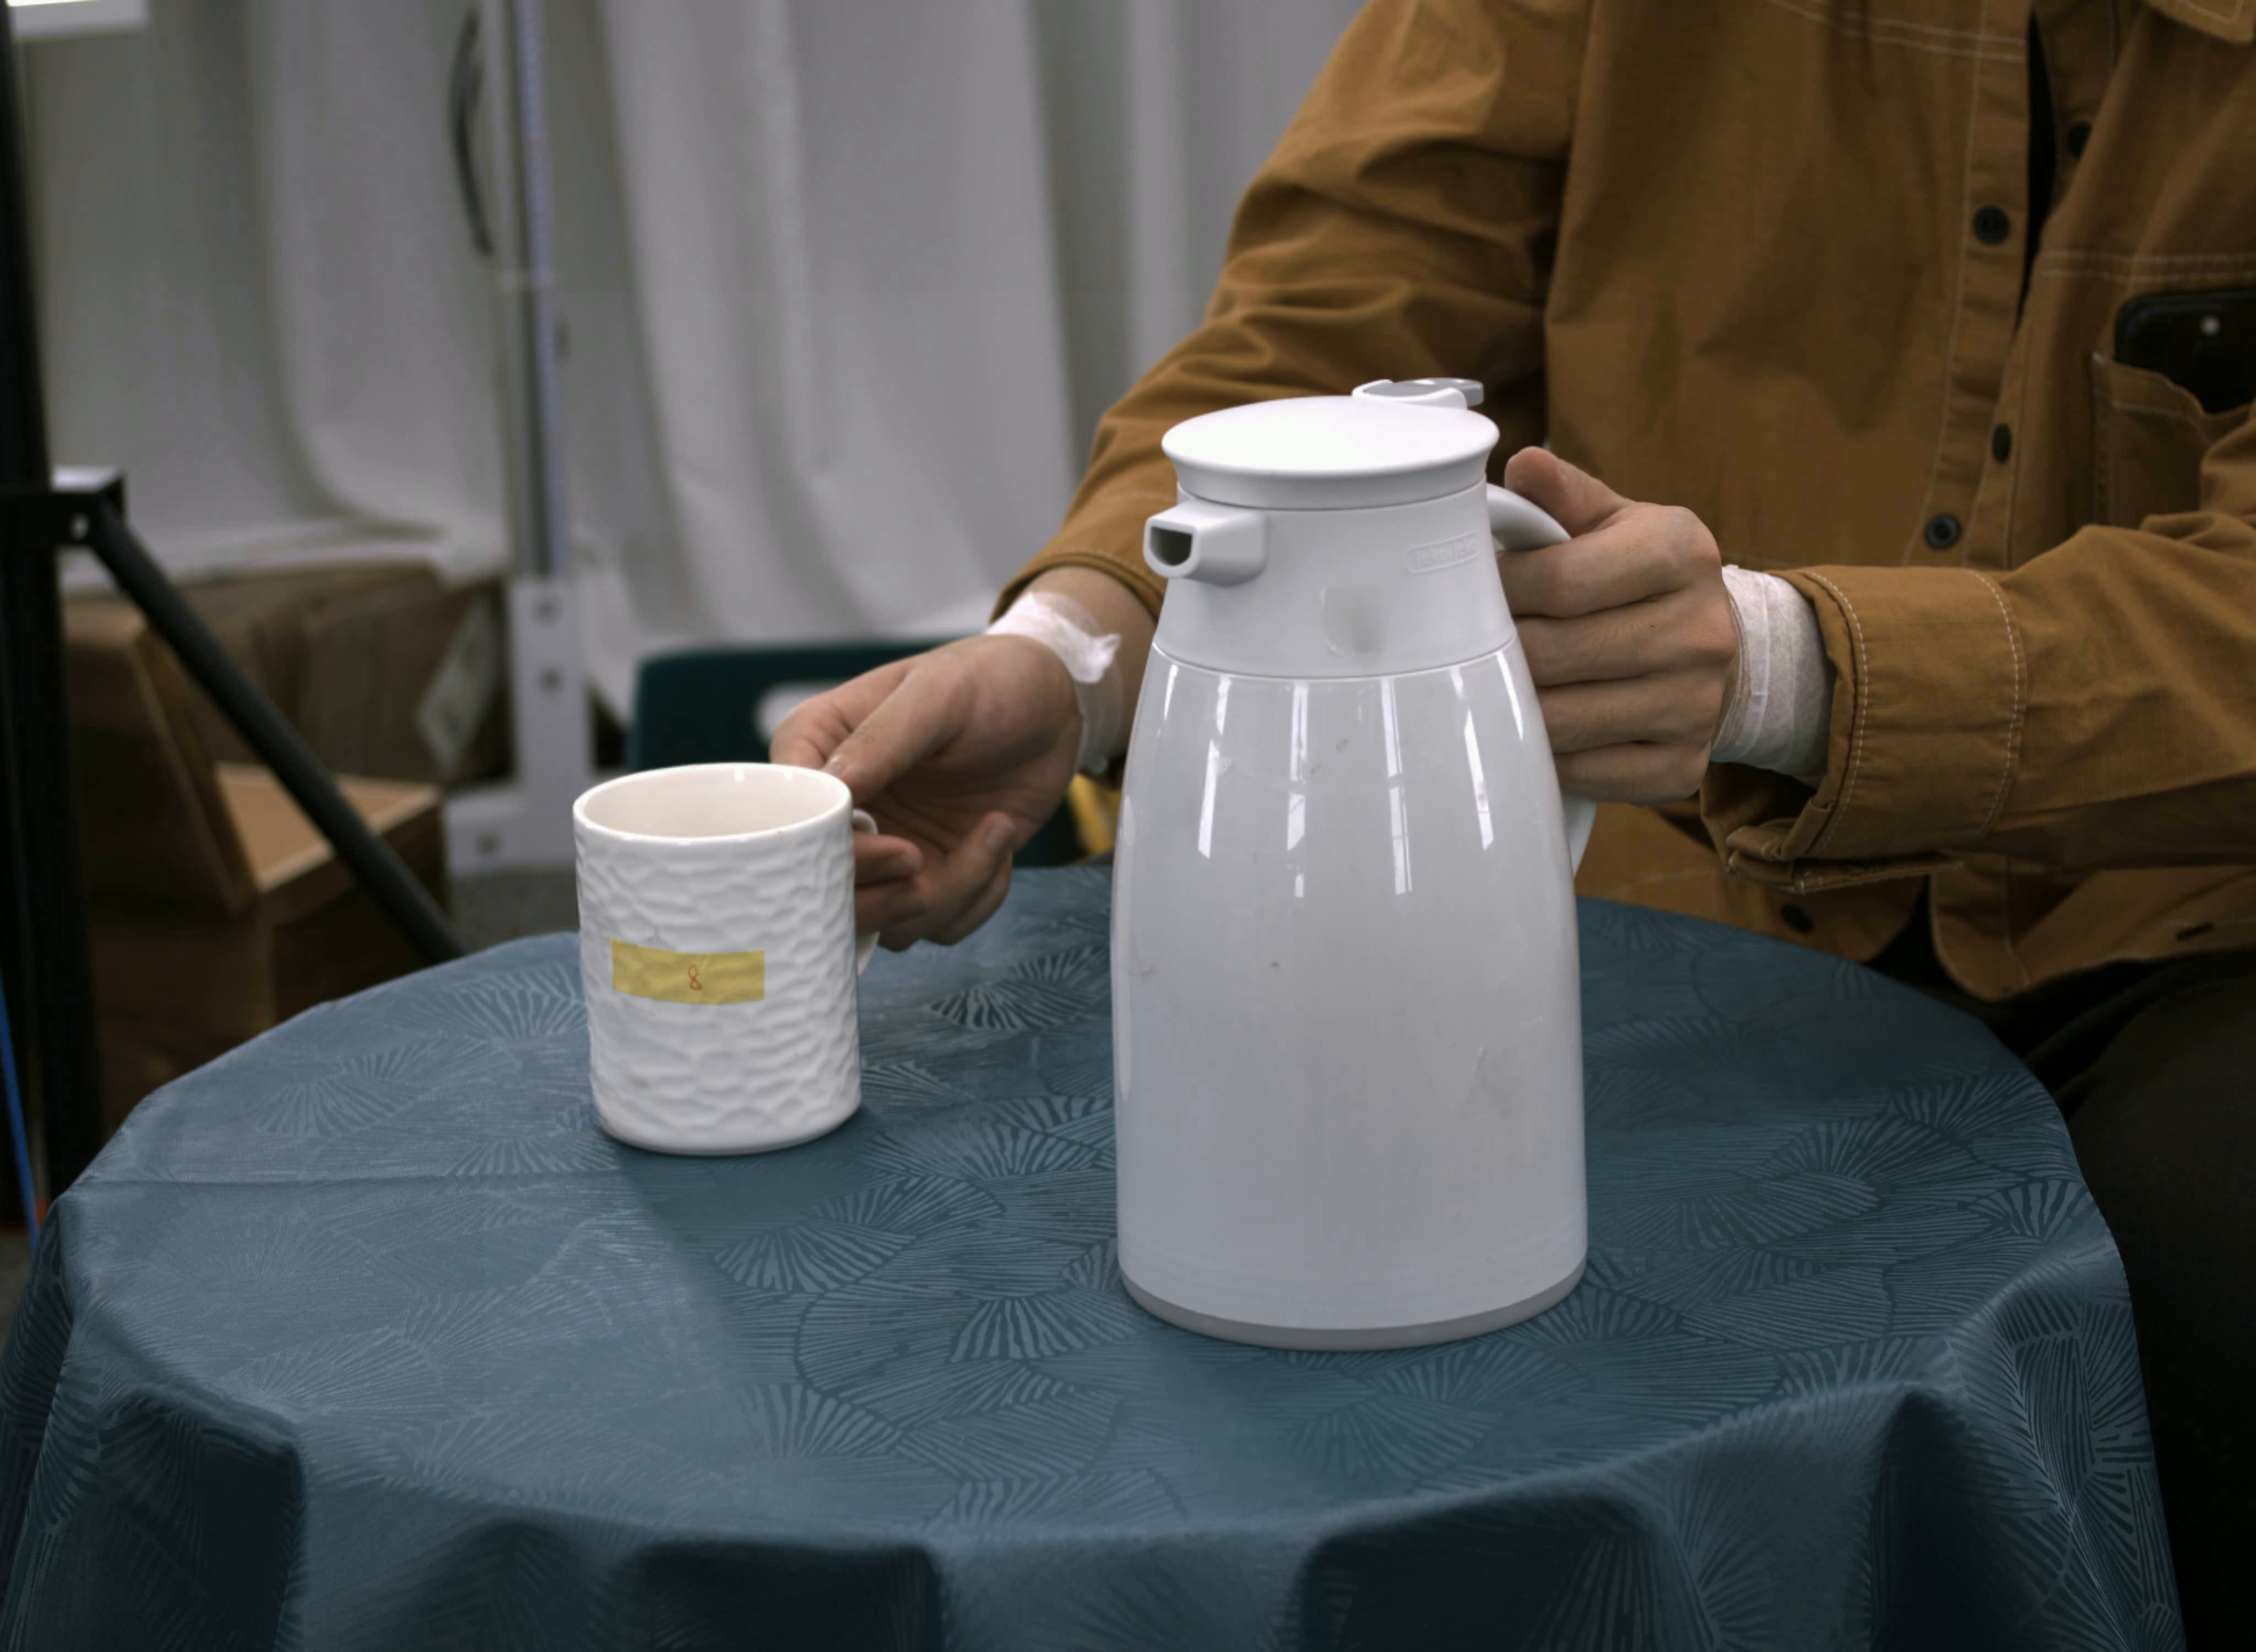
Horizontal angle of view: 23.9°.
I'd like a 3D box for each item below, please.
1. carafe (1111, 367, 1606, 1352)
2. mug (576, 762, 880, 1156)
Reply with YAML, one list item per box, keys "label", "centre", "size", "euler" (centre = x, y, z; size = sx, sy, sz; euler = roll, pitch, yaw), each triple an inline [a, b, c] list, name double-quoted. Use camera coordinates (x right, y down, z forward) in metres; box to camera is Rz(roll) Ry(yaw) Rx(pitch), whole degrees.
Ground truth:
- label: "carafe"
  centre: [0.071, 0.001, 1.467]
  size: [0.135, 0.248, 0.164]
  euler: [12, 20, 44]
- label: "mug"
  centre: [-0.116, 0.037, 1.640]
  size: [0.086, 0.102, 0.116]
  euler: [9, 18, 32]
